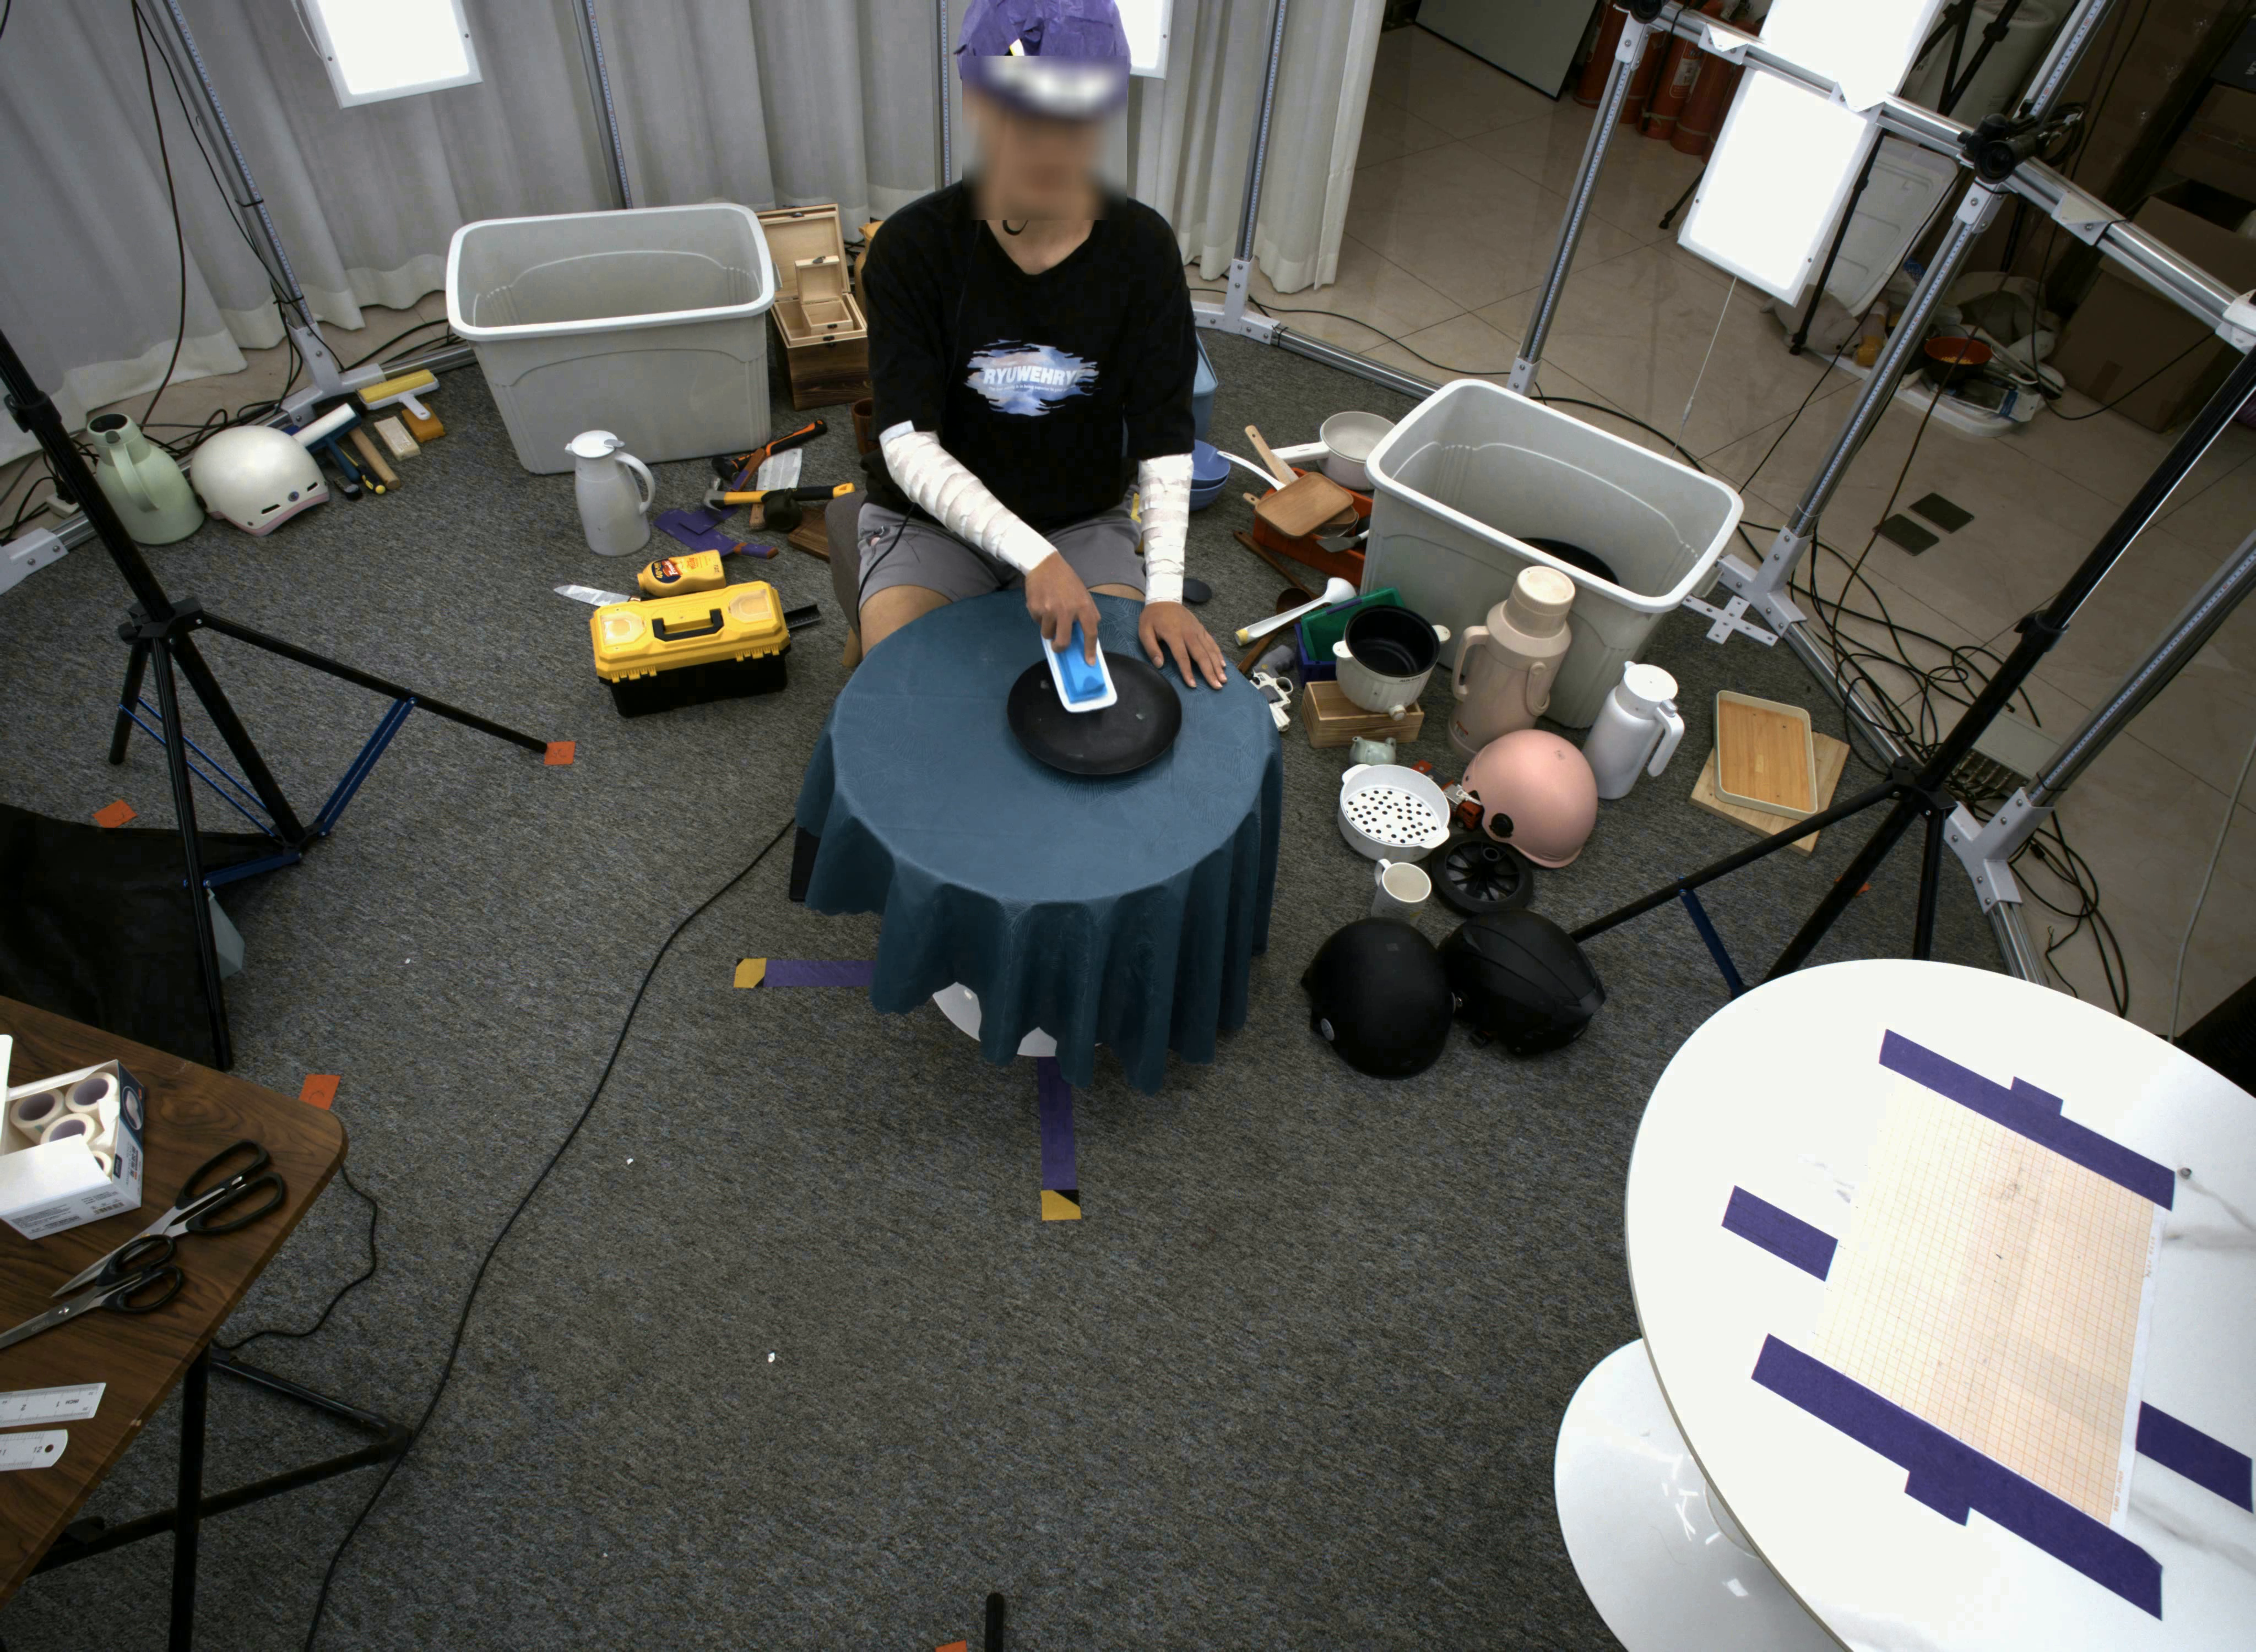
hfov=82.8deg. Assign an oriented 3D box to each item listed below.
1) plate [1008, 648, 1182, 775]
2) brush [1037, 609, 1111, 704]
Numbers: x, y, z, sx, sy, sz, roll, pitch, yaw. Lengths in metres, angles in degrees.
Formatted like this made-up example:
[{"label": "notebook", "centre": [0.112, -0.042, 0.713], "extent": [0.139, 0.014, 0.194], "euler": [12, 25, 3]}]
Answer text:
[{"label": "plate", "centre": [-0.046, -0.158, 1.792], "extent": [0.244, 0.023, 0.250], "euler": [2, 50, -2]}, {"label": "brush", "centre": [-0.071, -0.246, 1.803], "extent": [0.084, 0.055, 0.146], "euler": [-11, 74, -20]}]
